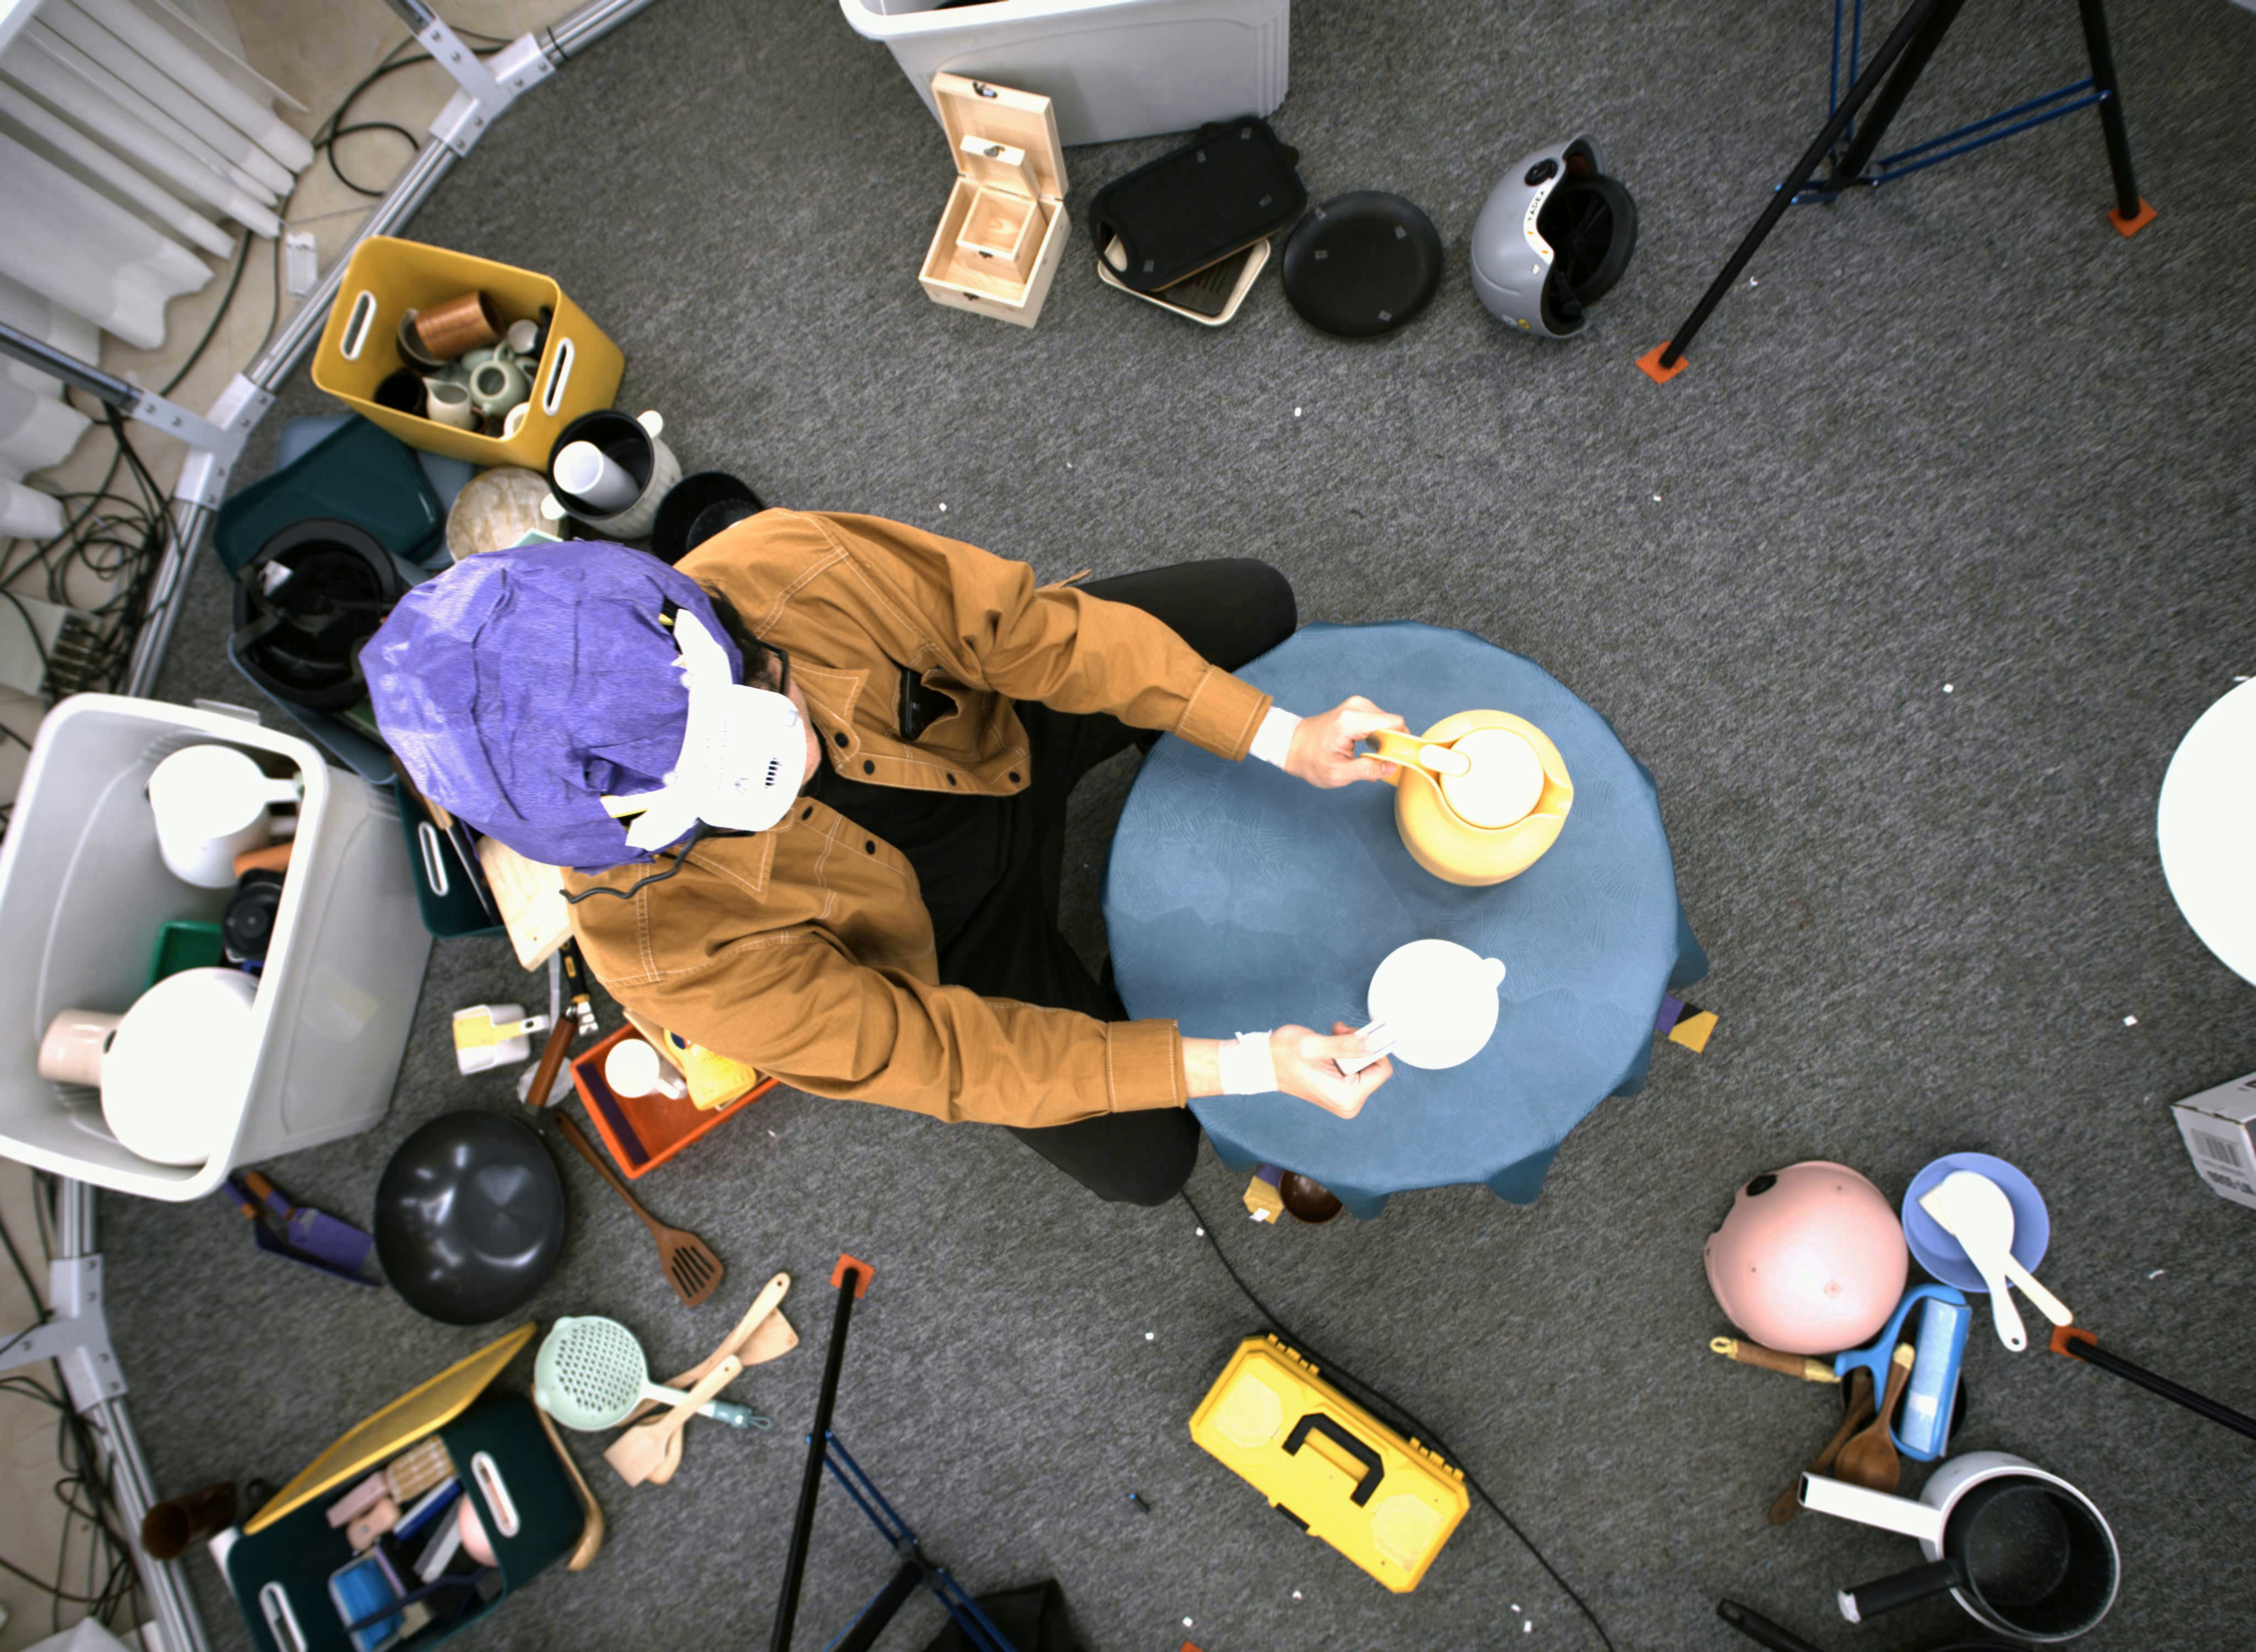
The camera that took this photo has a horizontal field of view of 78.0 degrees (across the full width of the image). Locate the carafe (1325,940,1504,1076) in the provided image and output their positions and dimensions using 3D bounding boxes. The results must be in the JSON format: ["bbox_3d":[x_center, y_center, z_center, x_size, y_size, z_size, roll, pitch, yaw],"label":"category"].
[{"bbox_3d":[0.271,0.178,1.320,0.173,0.269,0.123,-32,82,5],"label":"carafe"}]

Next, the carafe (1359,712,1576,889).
[{"bbox_3d":[0.322,-0.038,1.323,0.202,0.261,0.163,23,87,10],"label":"carafe"}]
